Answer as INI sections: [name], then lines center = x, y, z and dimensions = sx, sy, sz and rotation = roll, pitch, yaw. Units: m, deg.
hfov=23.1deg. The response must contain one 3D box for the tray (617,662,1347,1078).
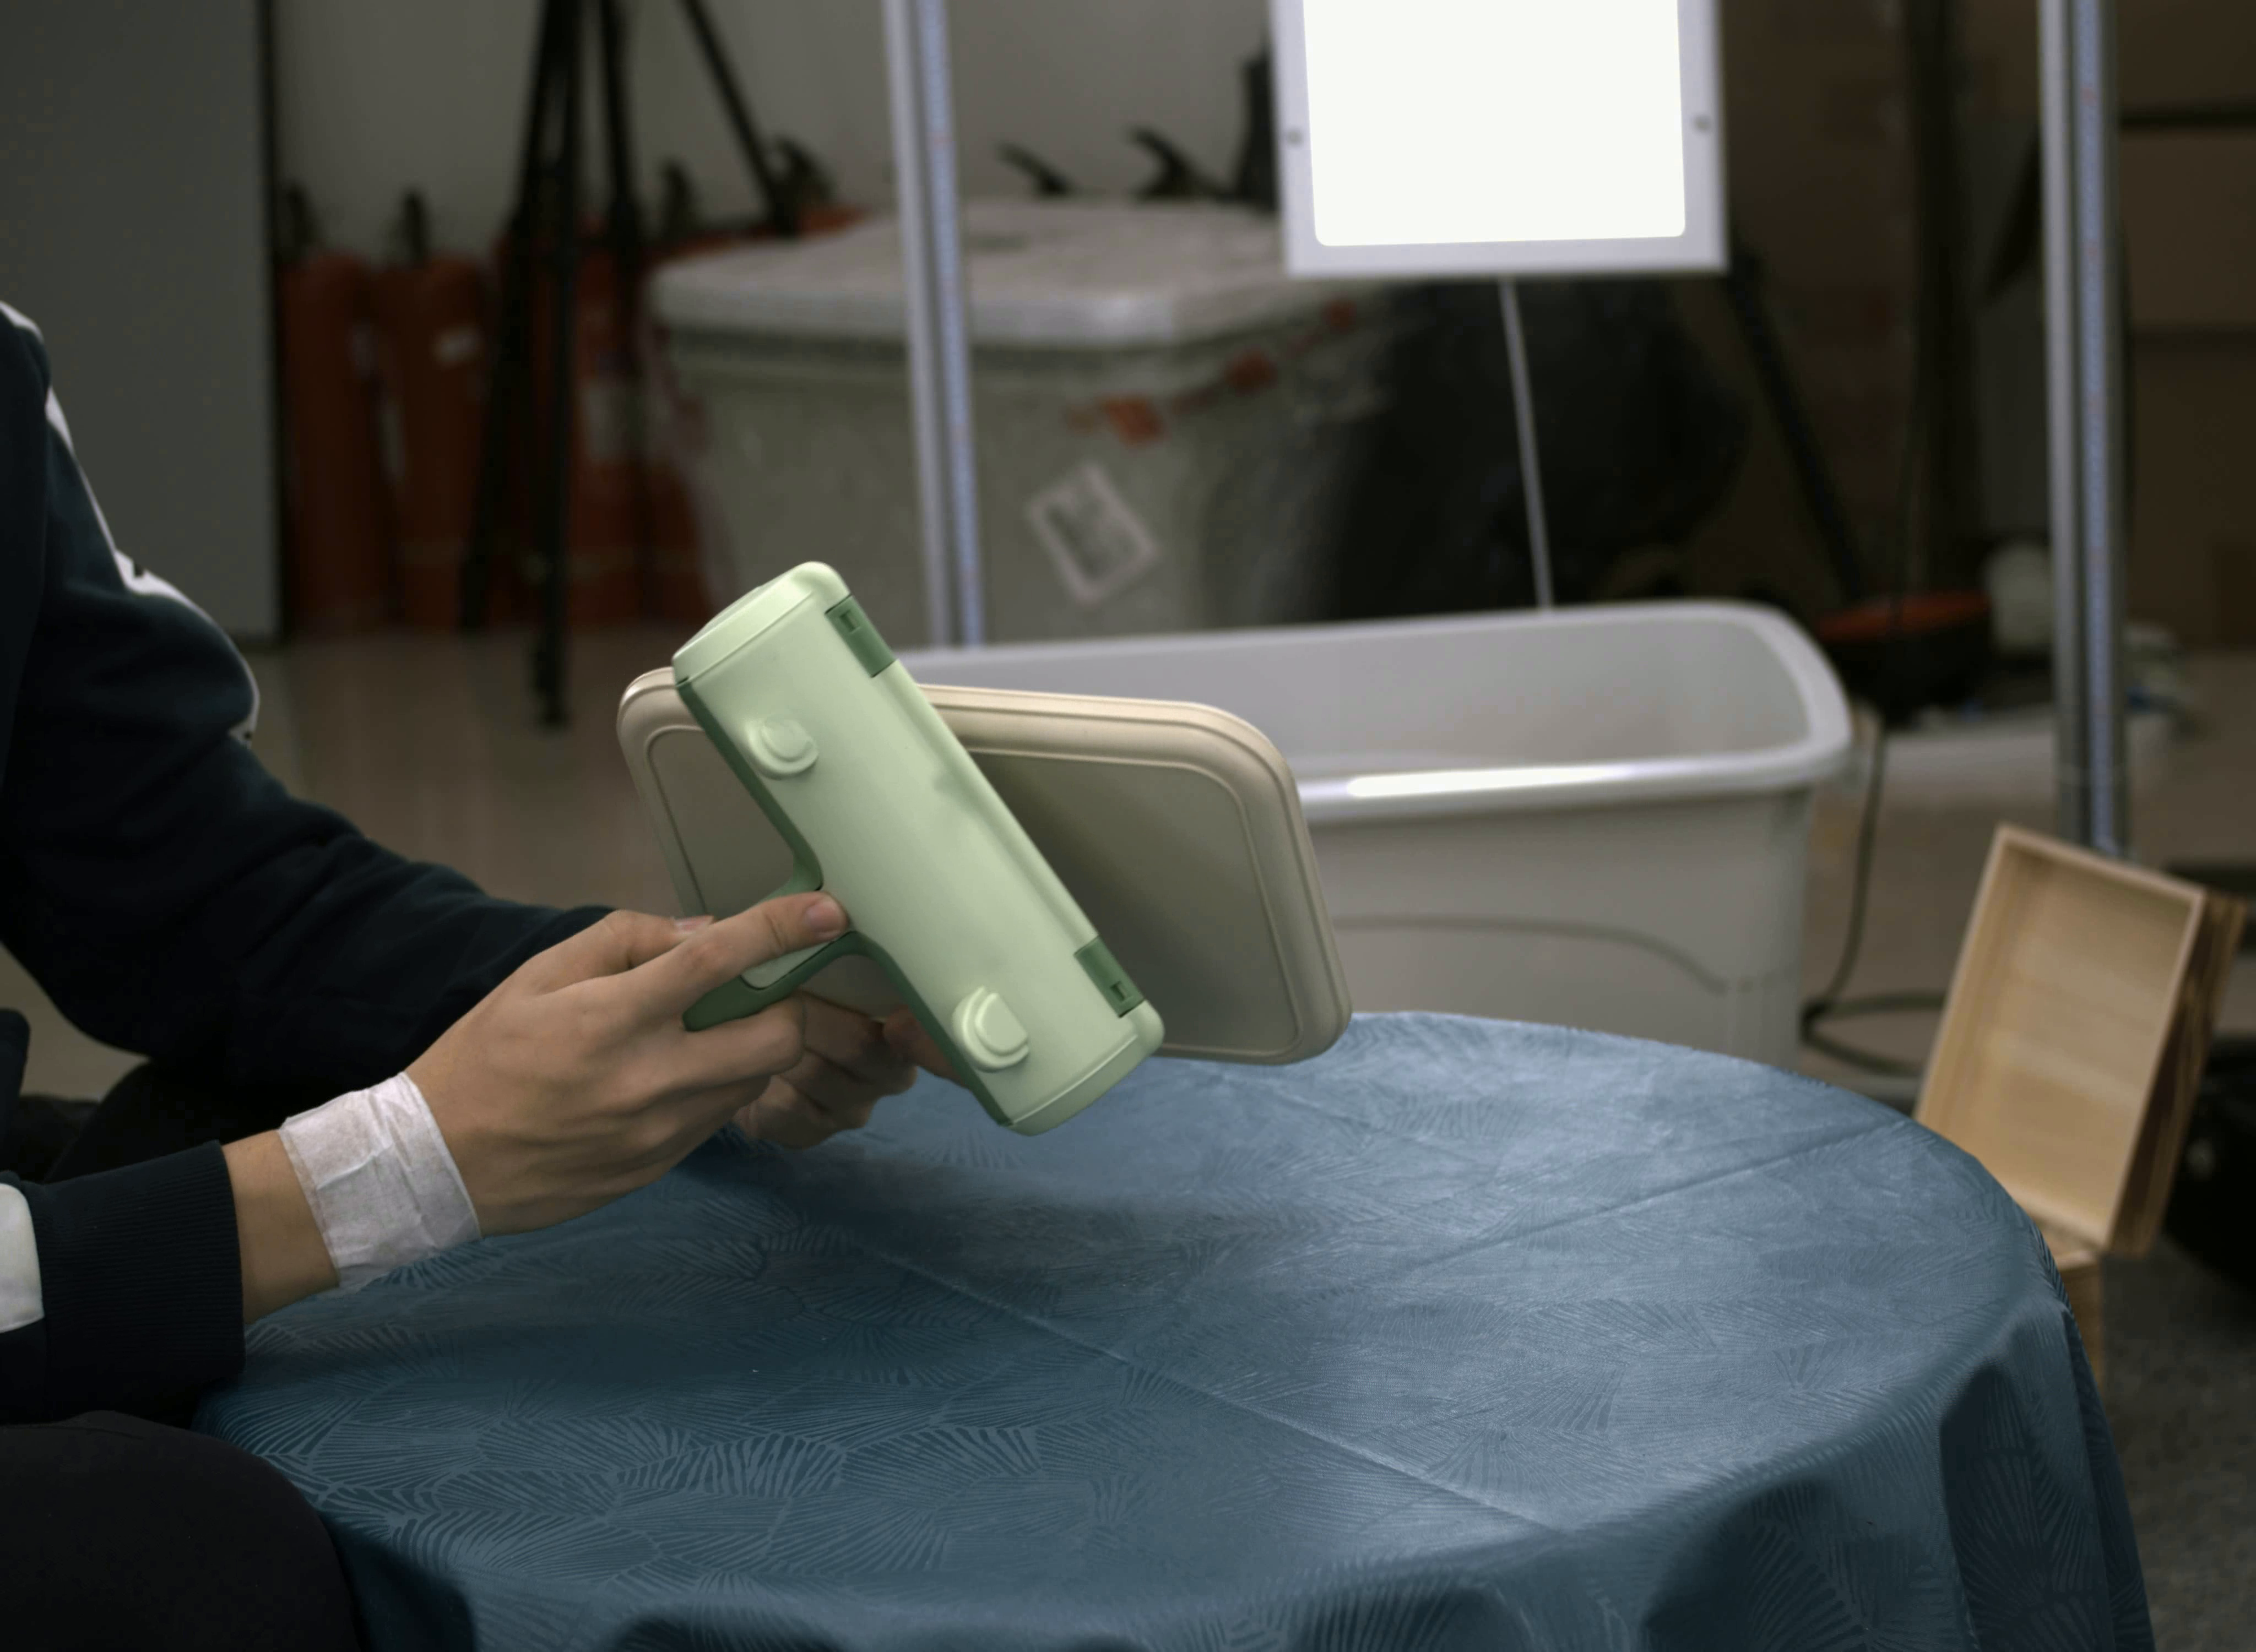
[tray]
center = -0.050, 0.018, 1.835
dimensions = 0.243, 0.171, 0.017
rotation = 5, 47, 22

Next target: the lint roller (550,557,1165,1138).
[lint roller]
center = -0.114, 0.041, 1.768
dimensions = 0.184, 0.198, 0.082
rotation = -35, 6, 9
